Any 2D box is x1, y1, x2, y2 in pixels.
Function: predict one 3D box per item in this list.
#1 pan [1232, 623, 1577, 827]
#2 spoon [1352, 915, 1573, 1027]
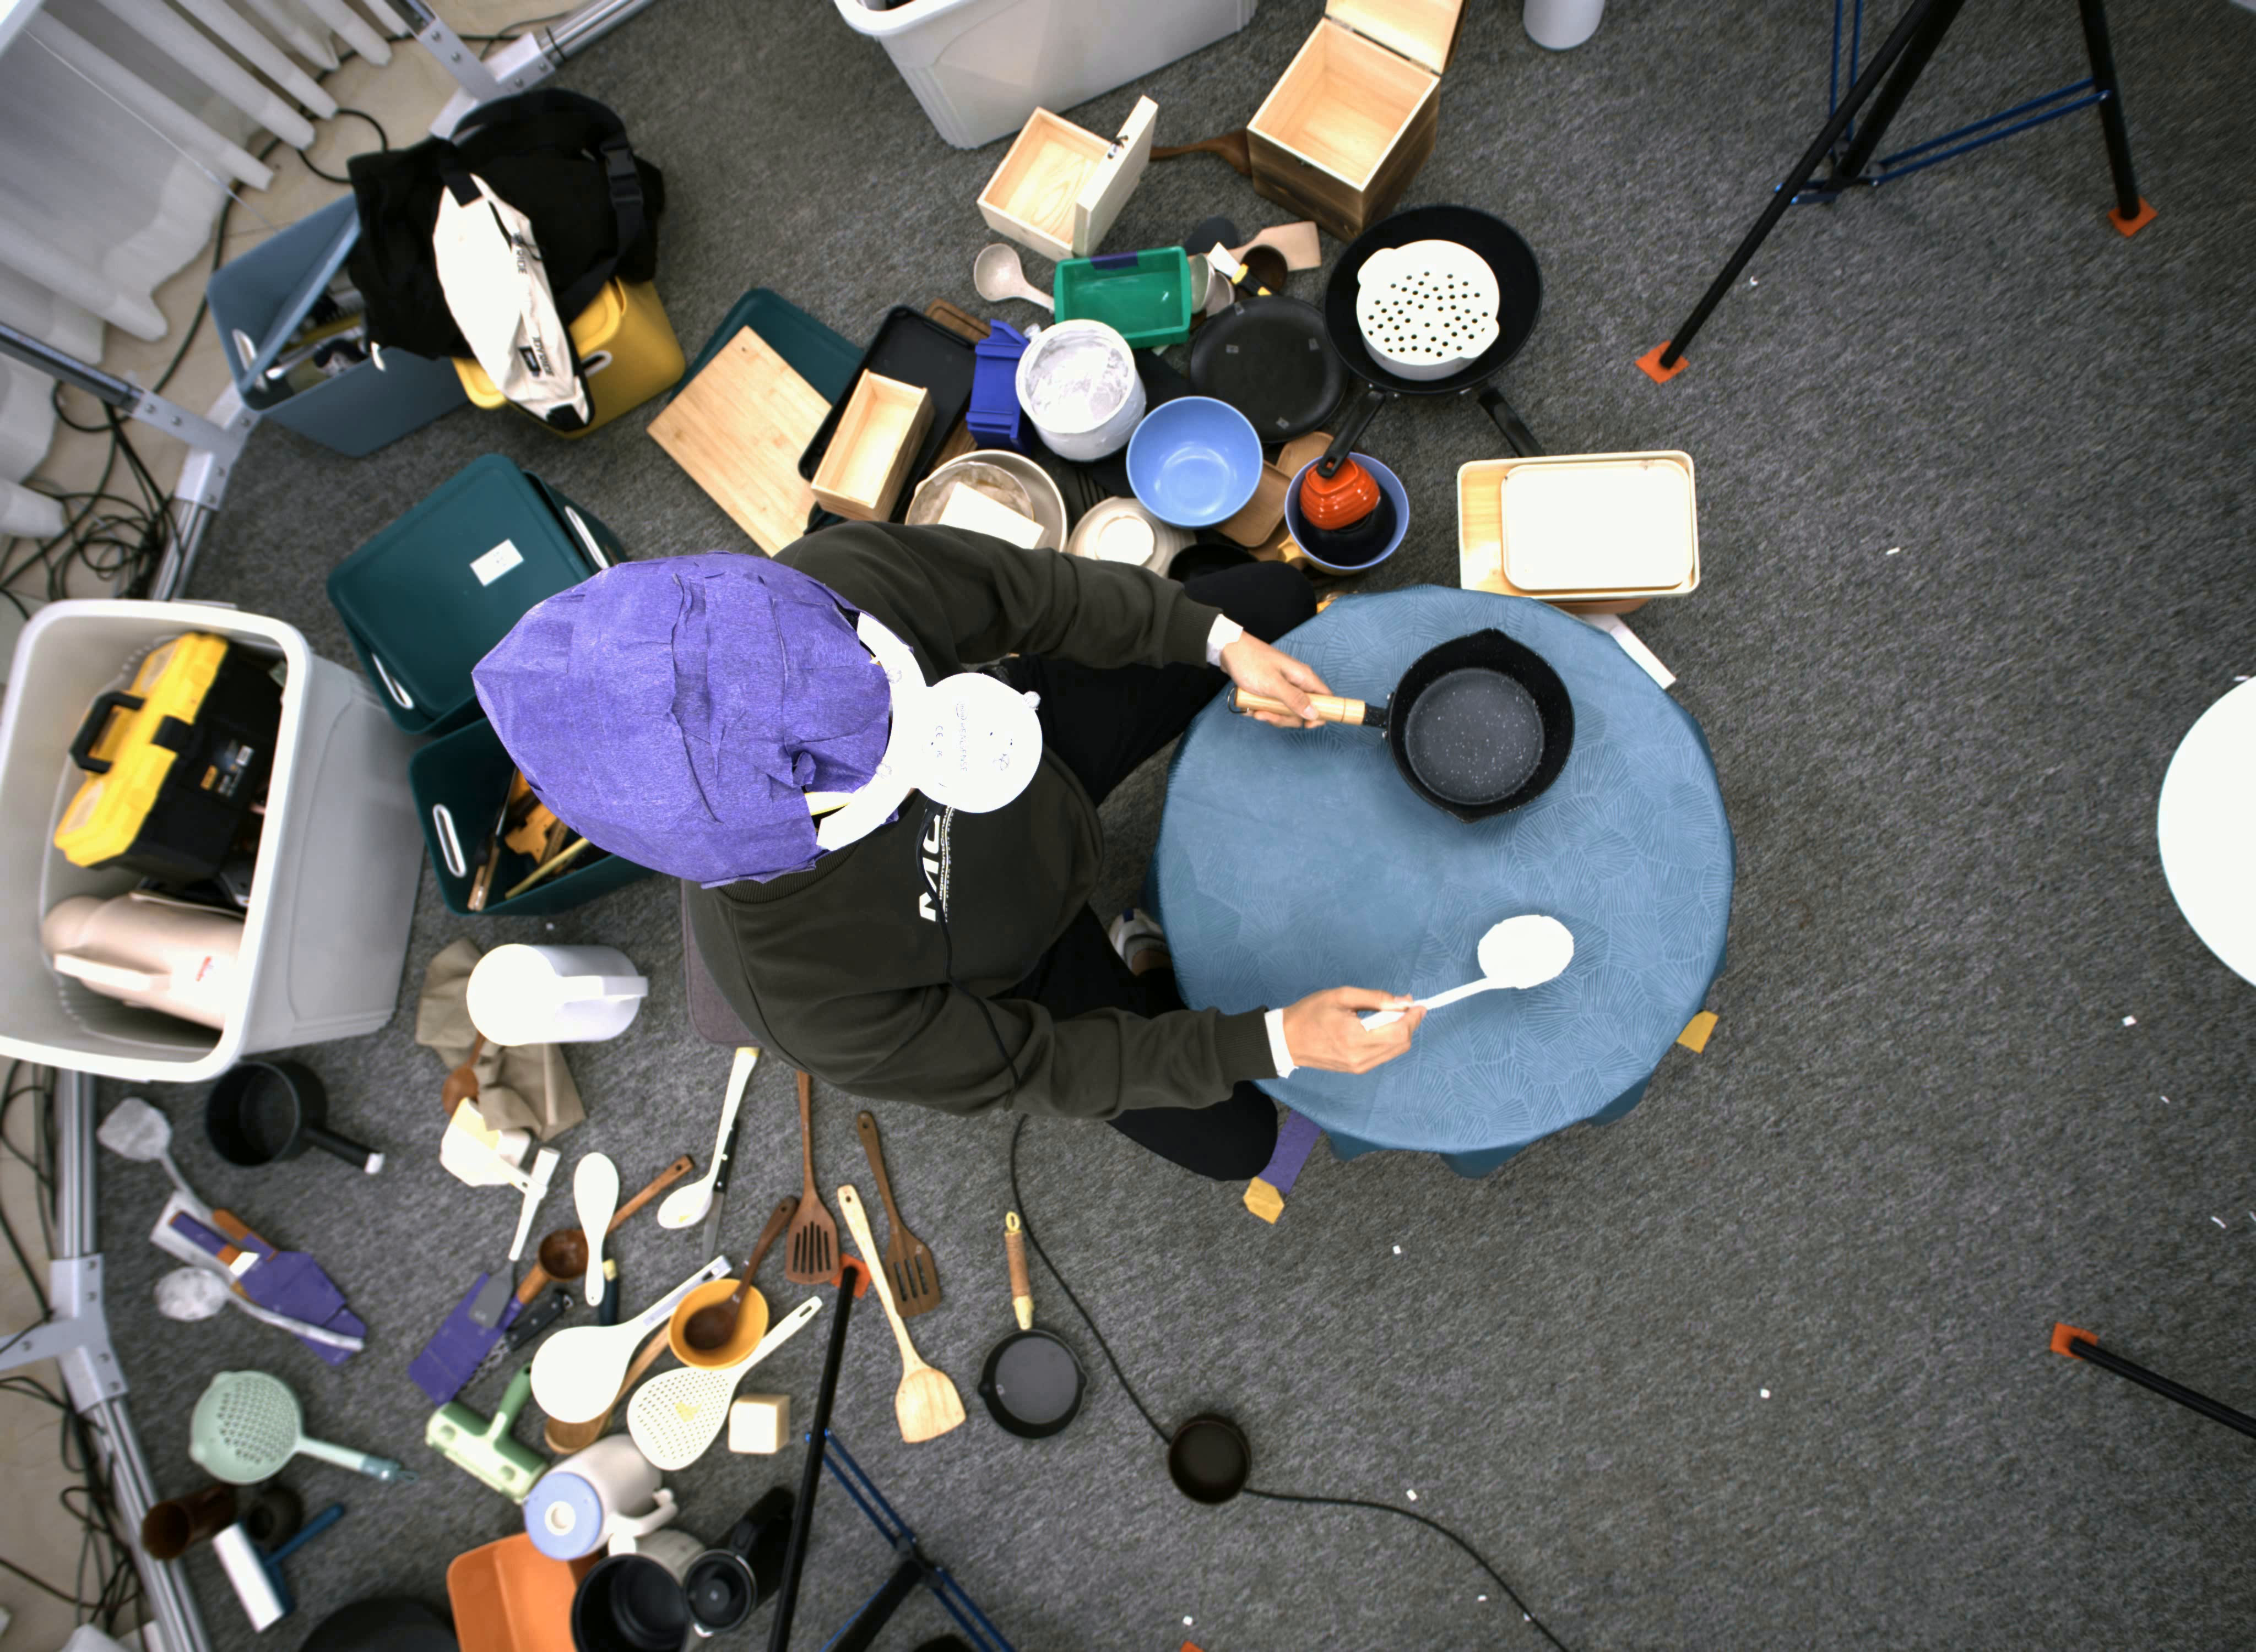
[{"bbox_3d":[0.279,-0.110,1.410,0.343,0.108,0.207,6,91,9],"label":"pan"},{"bbox_3d":[0.314,0.133,1.316,0.100,0.274,0.060,28,119,49],"label":"spoon"}]
